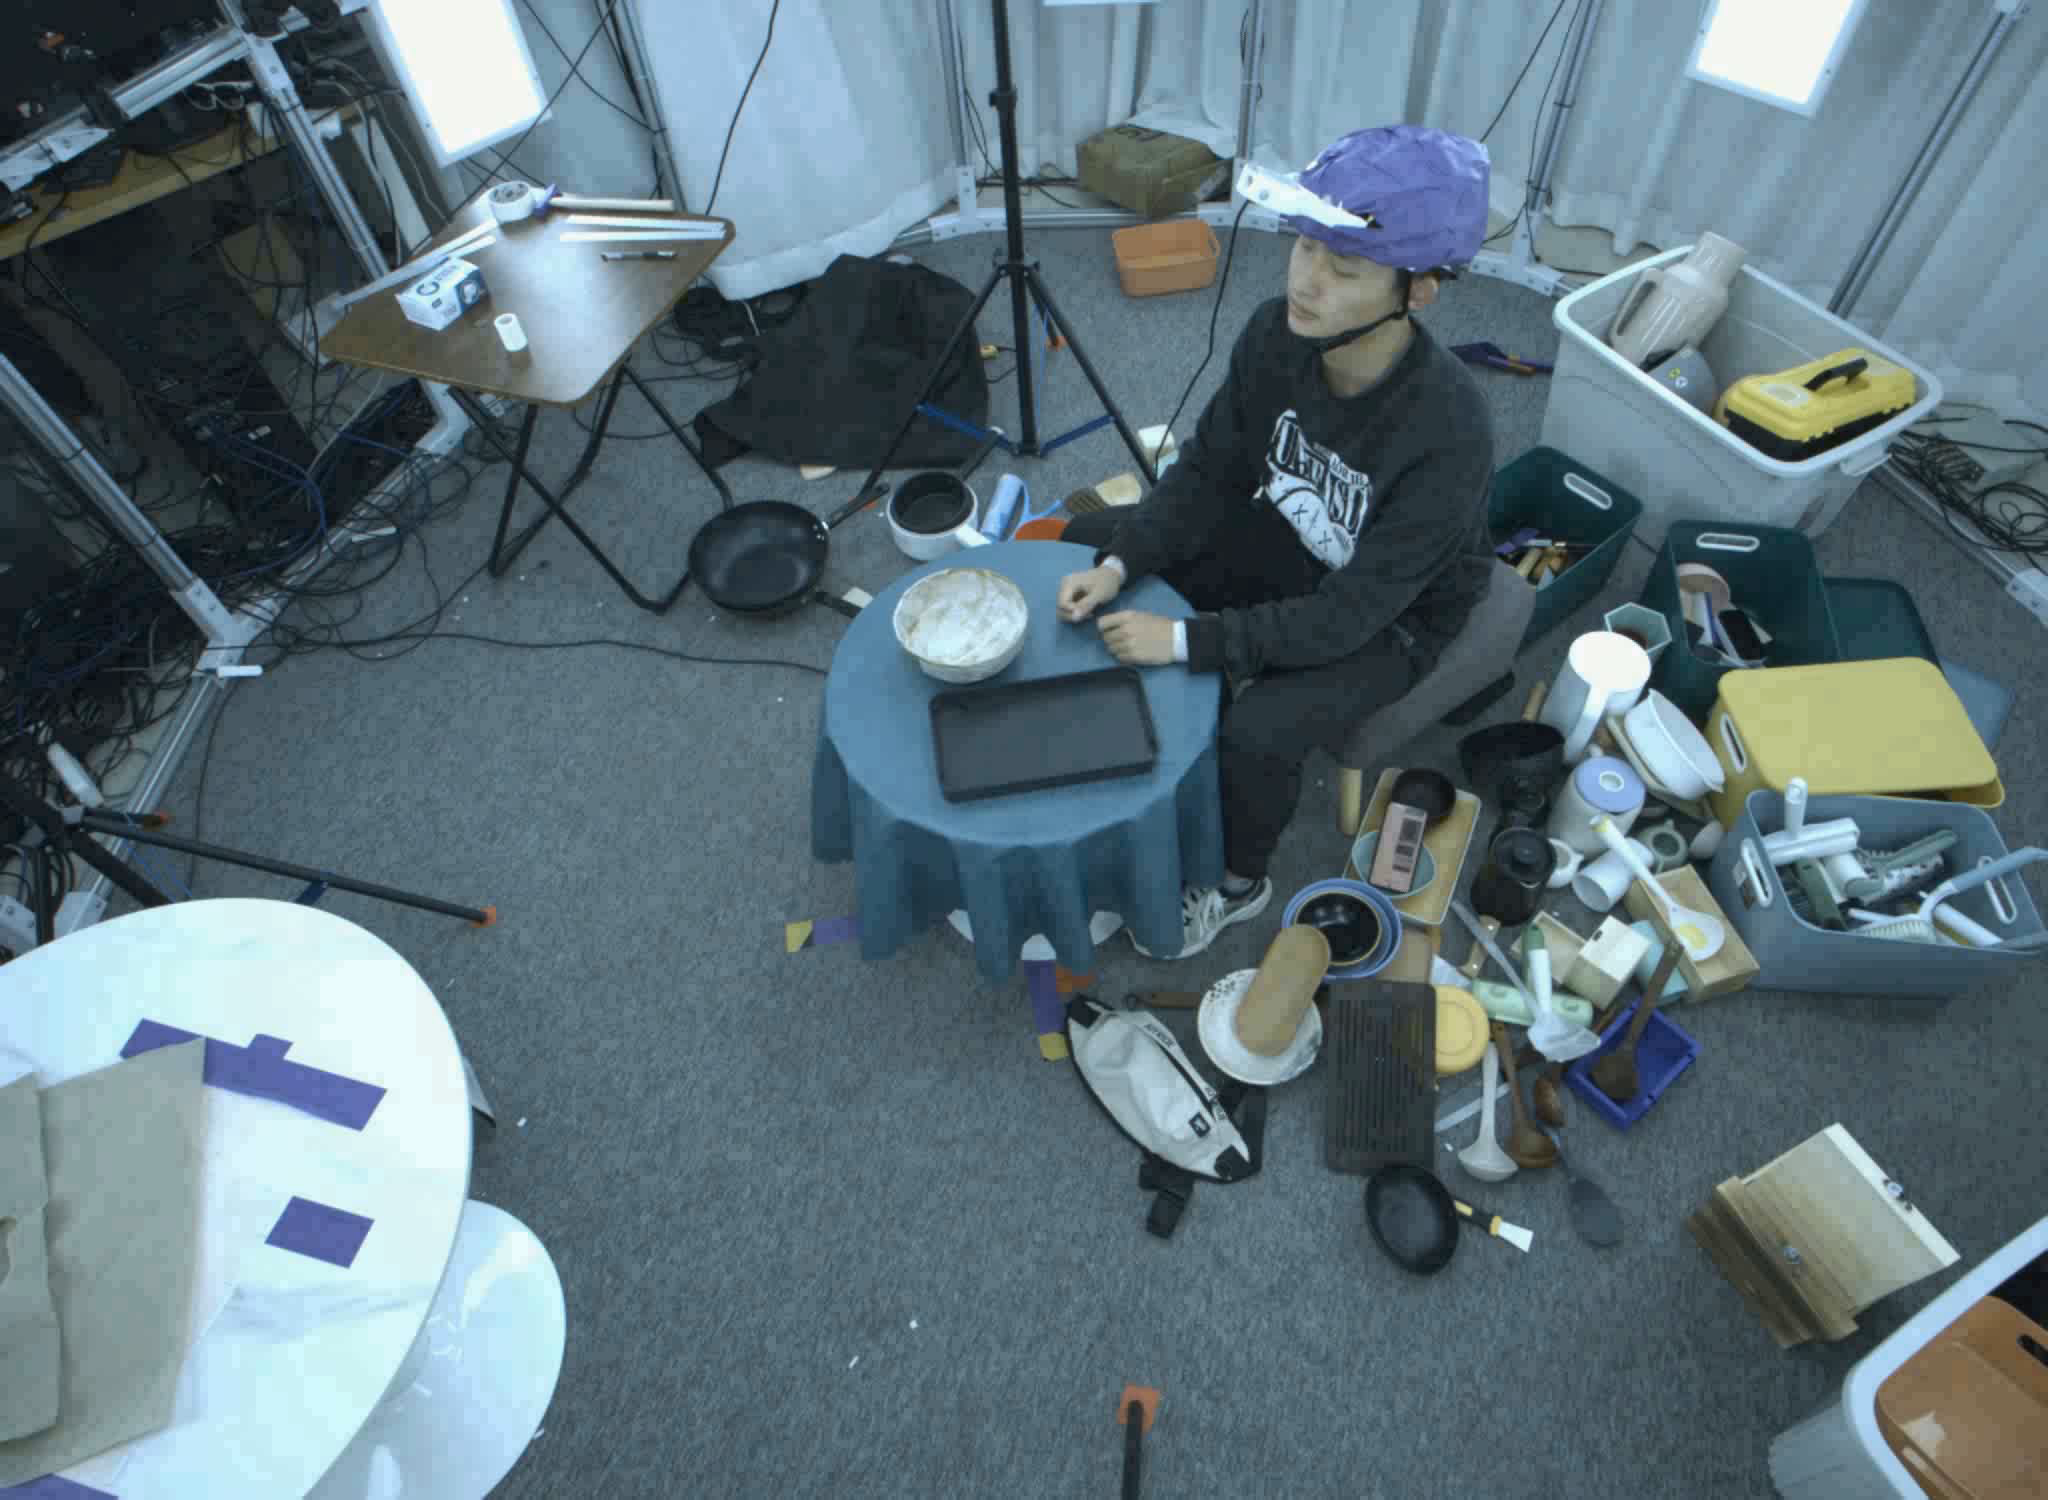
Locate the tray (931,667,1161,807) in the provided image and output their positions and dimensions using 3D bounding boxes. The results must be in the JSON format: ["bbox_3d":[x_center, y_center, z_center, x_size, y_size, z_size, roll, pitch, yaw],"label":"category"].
[{"bbox_3d":[0.030,-0.020,1.792,0.318,0.037,0.182,-8,56,-2],"label":"tray"}]

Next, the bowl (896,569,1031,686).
[{"bbox_3d":[-0.086,-0.167,1.860,0.214,0.095,0.212,-1,53,2],"label":"bowl"}]
